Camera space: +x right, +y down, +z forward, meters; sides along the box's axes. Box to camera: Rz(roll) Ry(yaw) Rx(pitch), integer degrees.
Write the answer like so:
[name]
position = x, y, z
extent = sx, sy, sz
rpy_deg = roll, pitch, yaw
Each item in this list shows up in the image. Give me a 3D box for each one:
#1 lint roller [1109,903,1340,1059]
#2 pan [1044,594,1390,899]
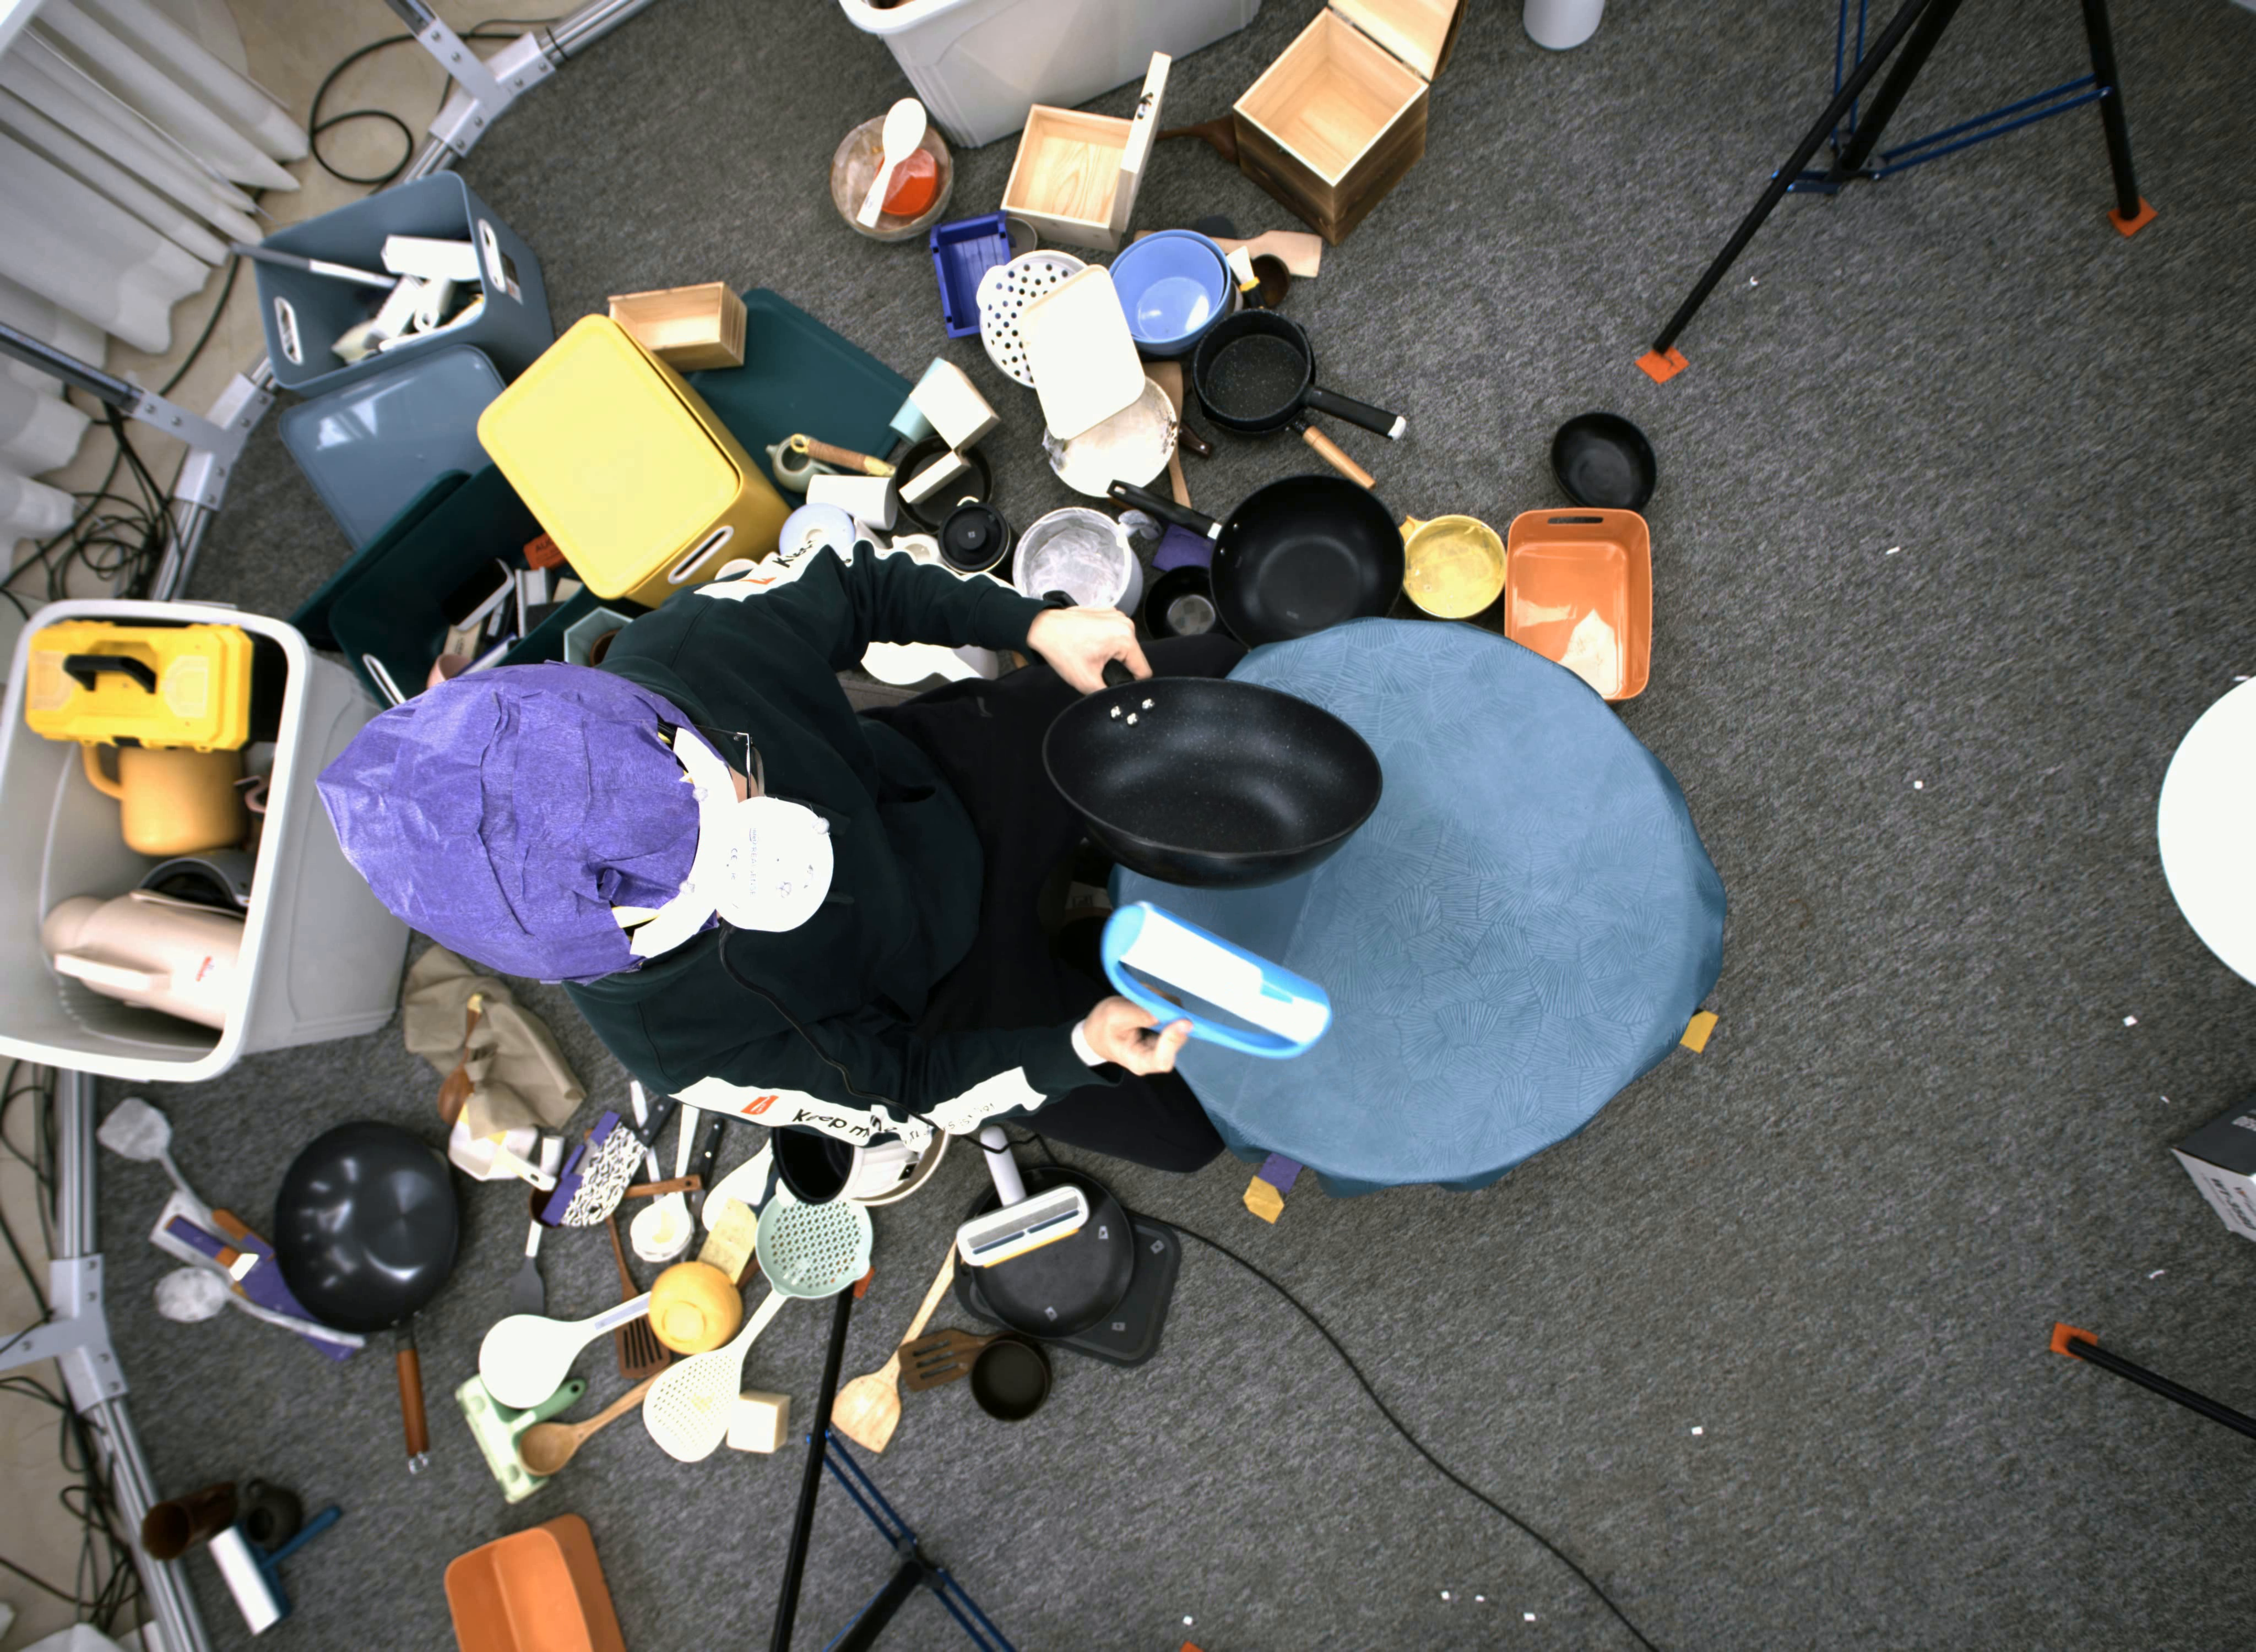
[lint roller]
position = 0.056, 0.153, 1.220
extent = 0.230, 0.184, 0.066
rpy_deg = 24, 54, -22
[pan]
position = 0.036, -0.076, 1.312
extent = 0.470, 0.307, 0.114
rpy_deg = 46, 141, 43
